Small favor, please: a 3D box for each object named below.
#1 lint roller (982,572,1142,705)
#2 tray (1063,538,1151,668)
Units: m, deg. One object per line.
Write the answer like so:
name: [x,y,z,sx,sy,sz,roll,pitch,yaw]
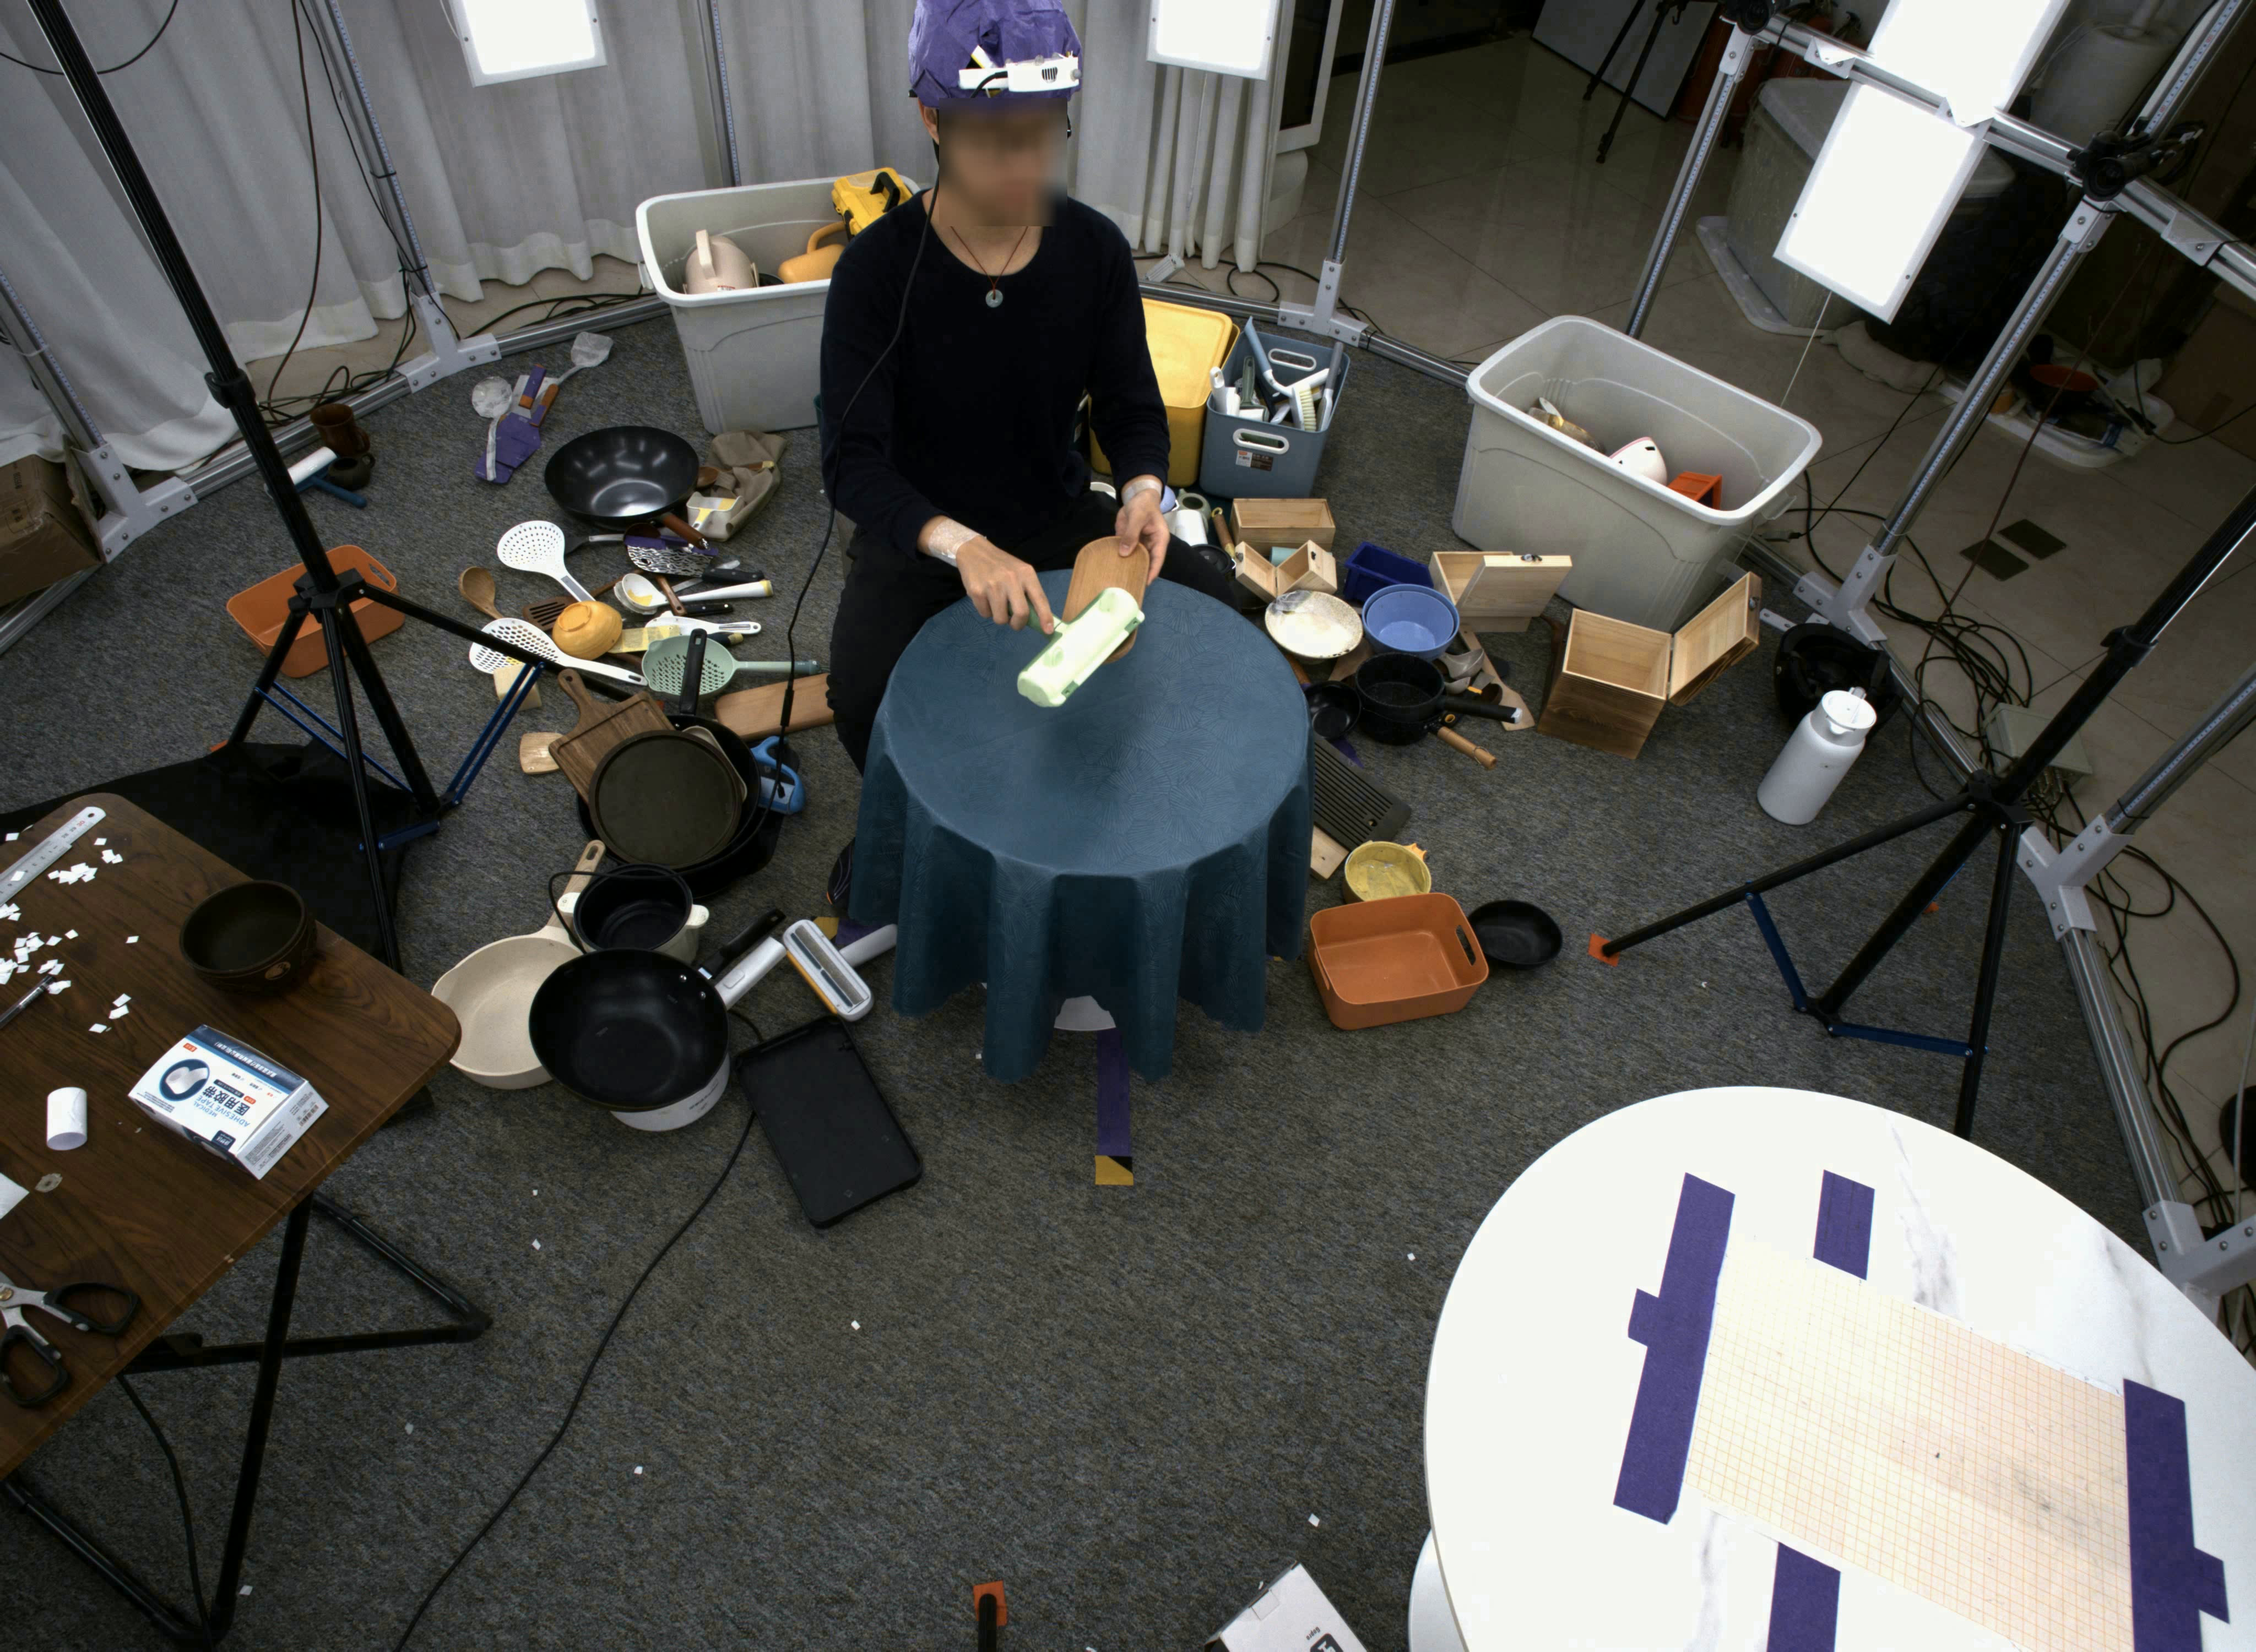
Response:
lint roller: [-0.101,-0.265,1.587,0.183,0.081,0.201,41,58,0]
tray: [-0.028,-0.294,1.682,0.102,0.020,0.236,3,54,9]
